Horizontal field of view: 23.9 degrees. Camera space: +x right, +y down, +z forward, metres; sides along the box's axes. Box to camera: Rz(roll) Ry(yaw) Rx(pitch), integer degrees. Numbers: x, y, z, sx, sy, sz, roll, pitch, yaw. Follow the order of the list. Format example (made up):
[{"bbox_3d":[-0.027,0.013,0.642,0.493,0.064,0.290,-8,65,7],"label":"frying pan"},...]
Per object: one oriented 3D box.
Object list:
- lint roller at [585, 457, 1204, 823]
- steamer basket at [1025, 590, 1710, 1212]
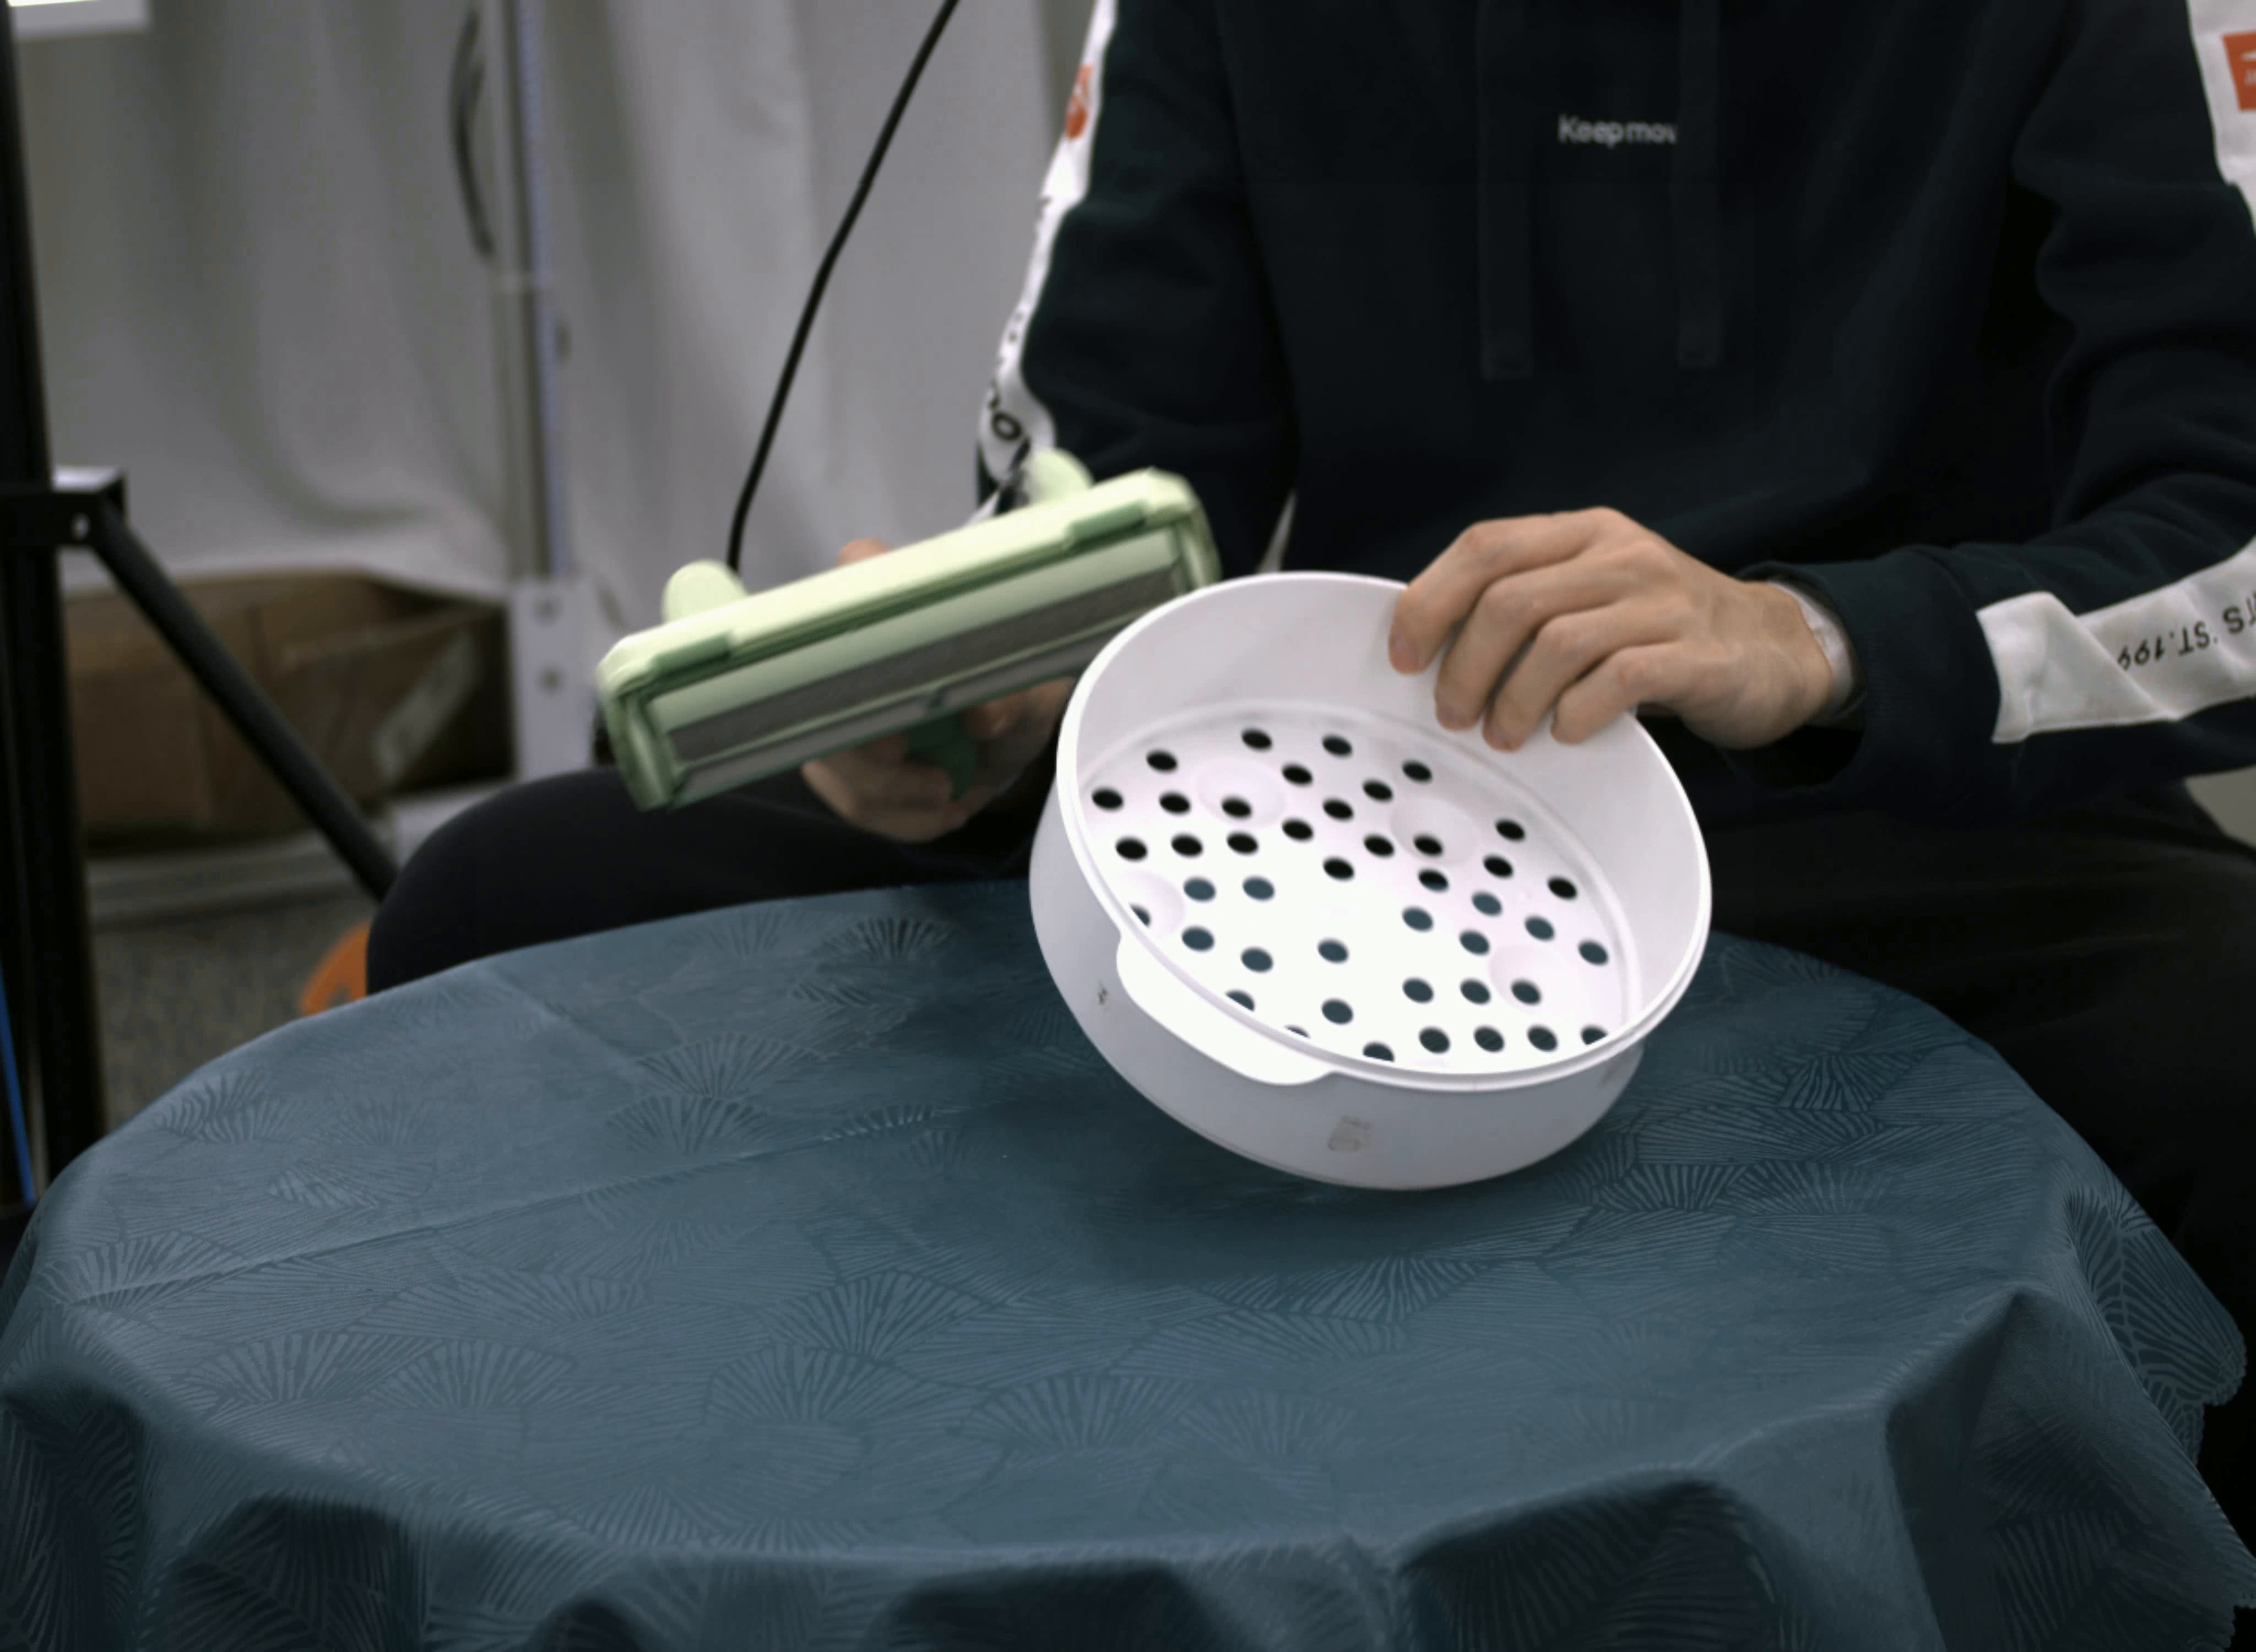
[{"bbox_3d":[-0.078,-0.055,1.742,0.197,0.083,0.183,-19,-7,-3],"label":"lint roller"},{"bbox_3d":[0.068,0.024,1.574,0.204,0.069,0.228,31,48,15],"label":"steamer basket"}]
